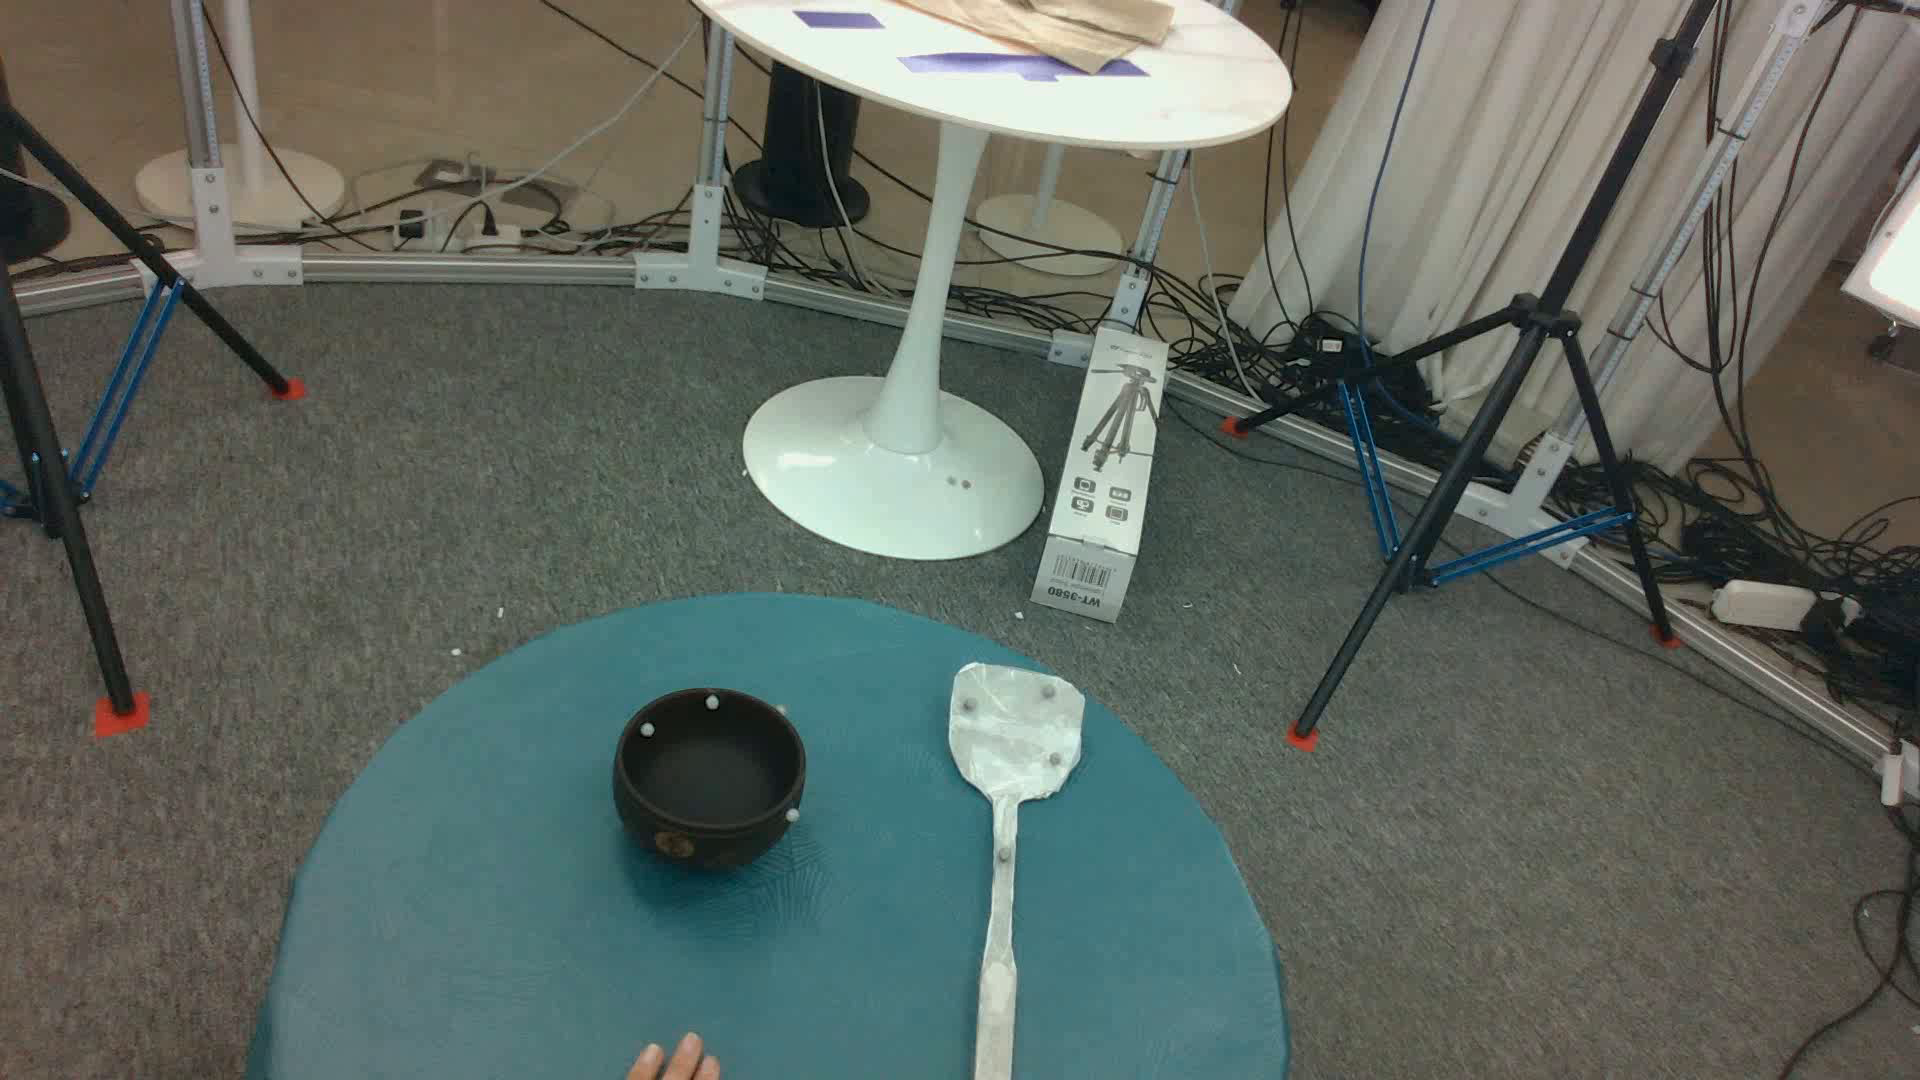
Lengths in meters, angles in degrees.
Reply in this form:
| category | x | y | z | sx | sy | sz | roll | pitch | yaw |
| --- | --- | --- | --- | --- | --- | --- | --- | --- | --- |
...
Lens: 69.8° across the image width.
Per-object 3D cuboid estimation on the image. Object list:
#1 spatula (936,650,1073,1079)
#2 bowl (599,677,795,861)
| category | x | y | z | sx | sy | sz | roll | pitch | yaw |
| --- | --- | --- | --- | --- | --- | --- | --- | --- | --- |
| spatula | 0.017 | 0.210 | 0.875 | 0.099 | 0.044 | 0.366 | 14 | 37 | -5 |
| bowl | -0.165 | 0.150 | 0.858 | 0.118 | 0.069 | 0.118 | 9 | 38 | -7 |
